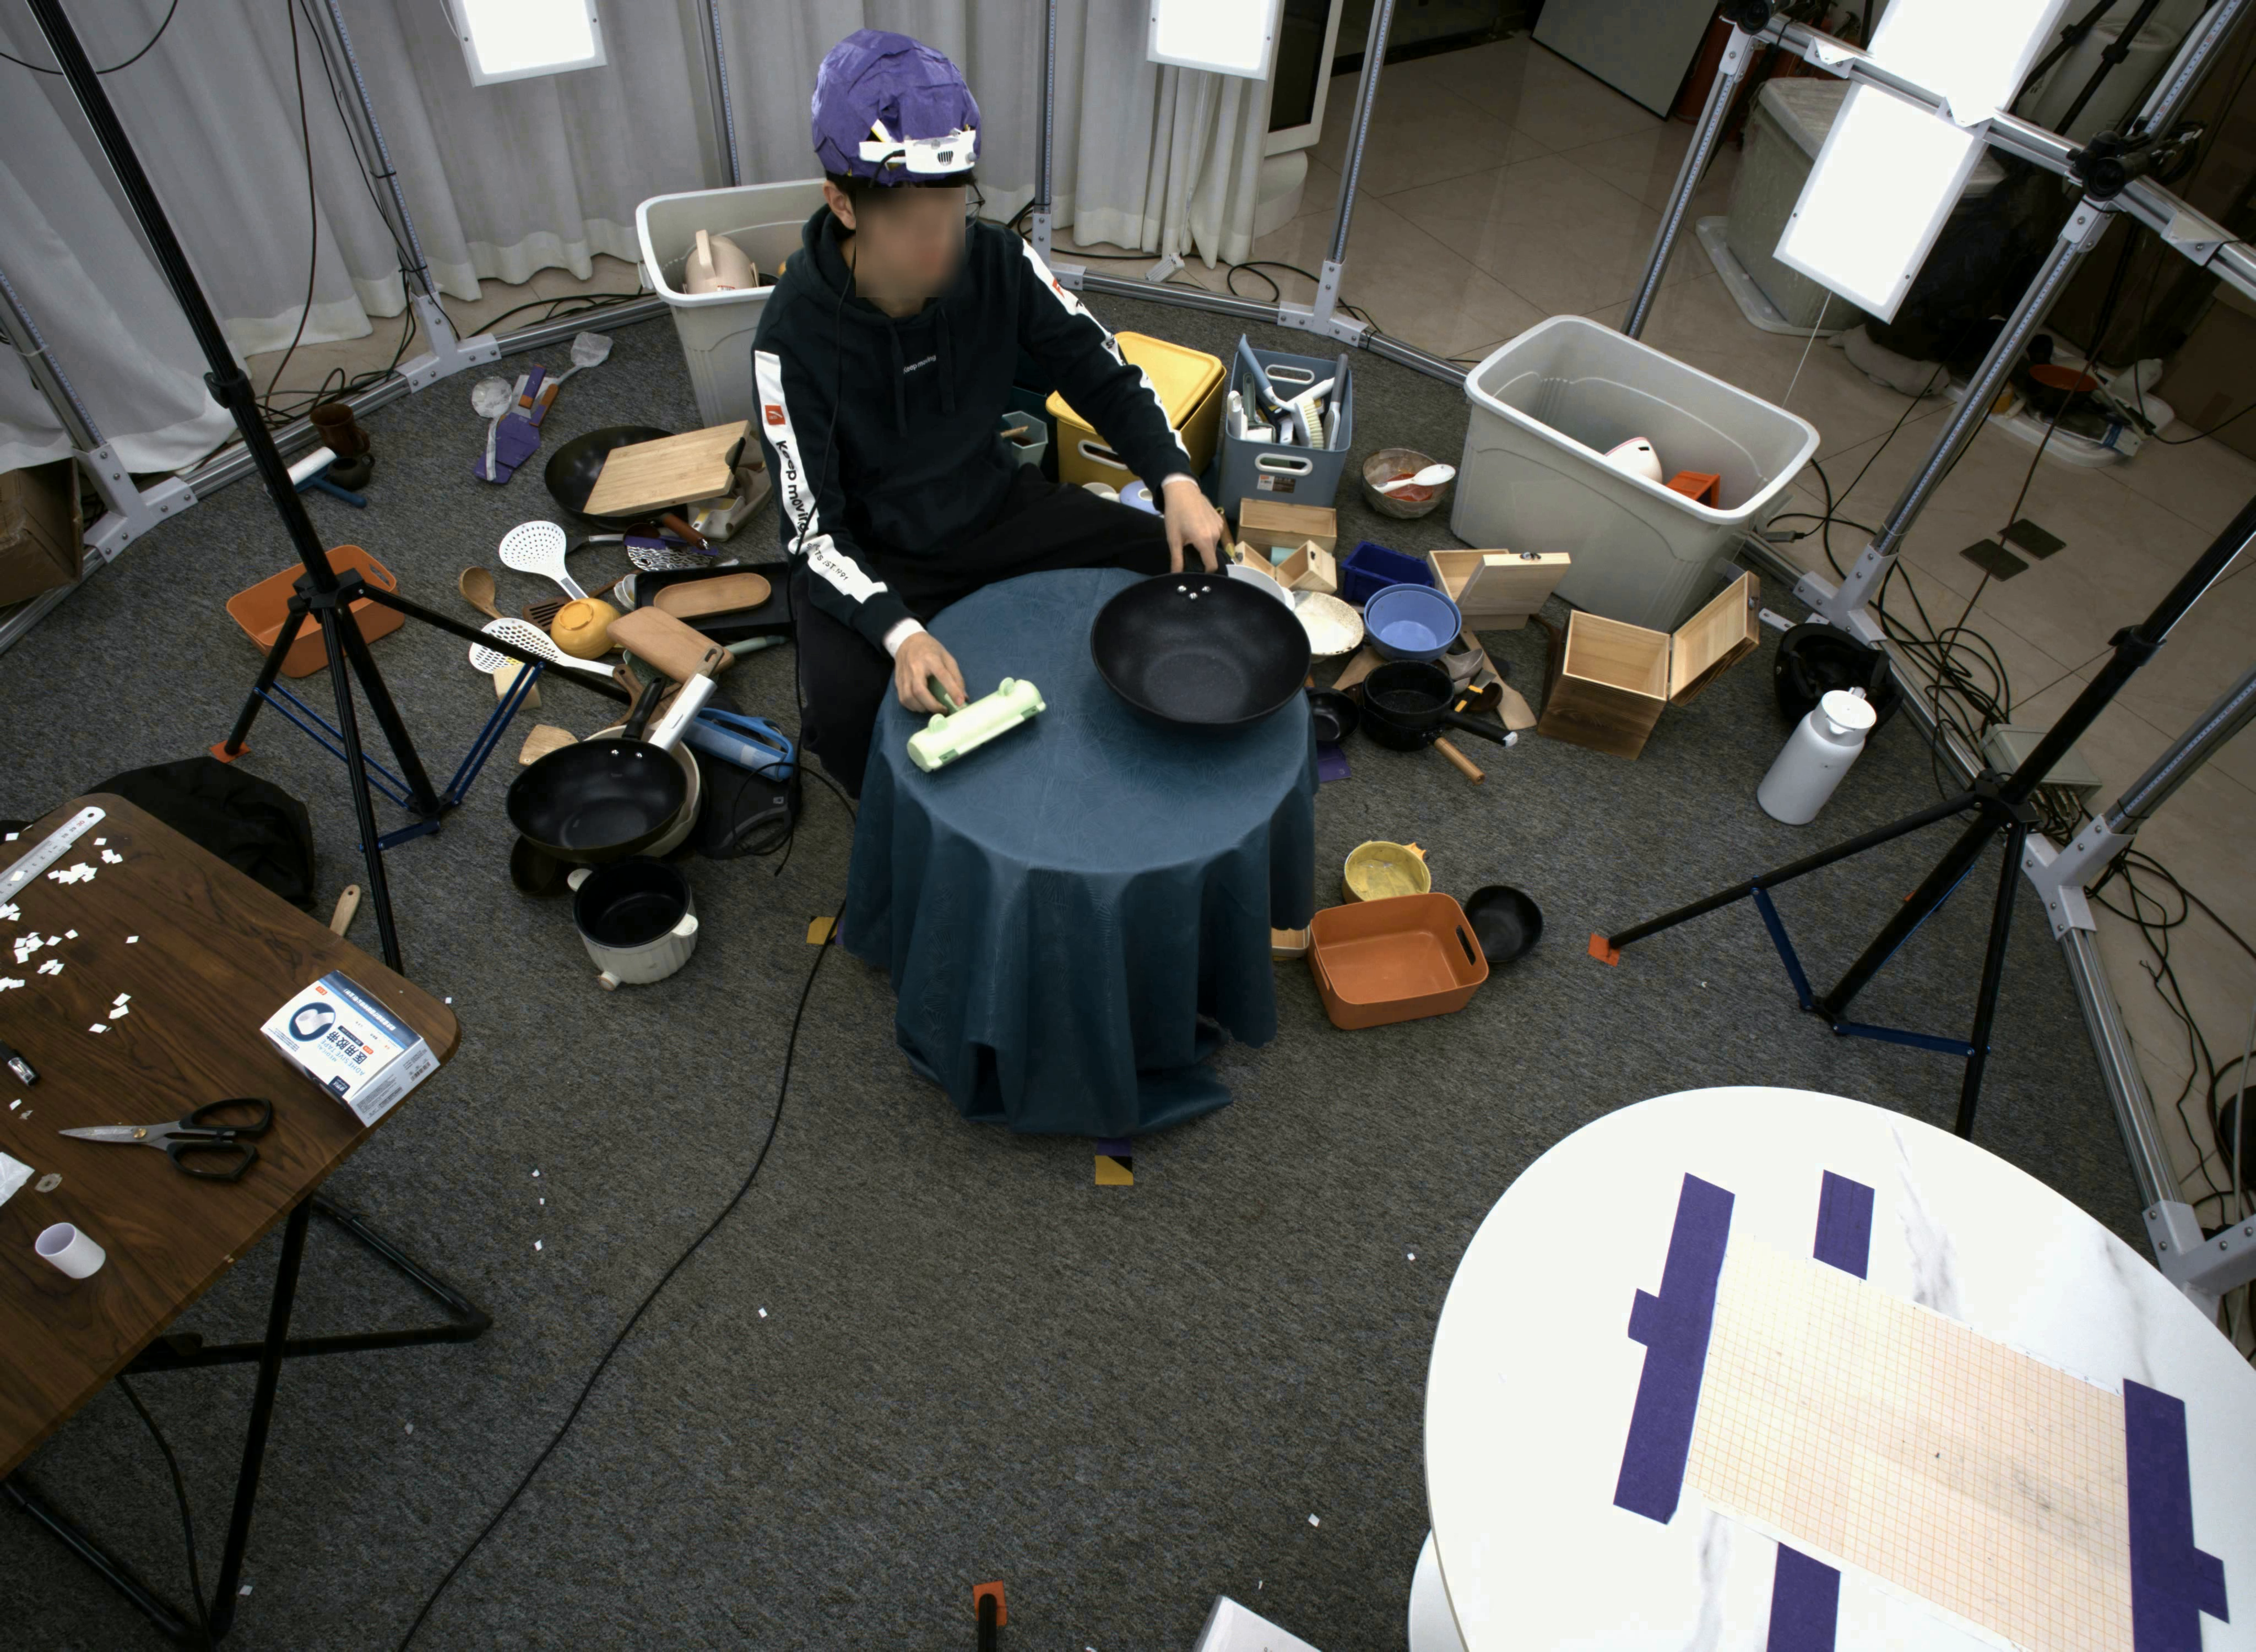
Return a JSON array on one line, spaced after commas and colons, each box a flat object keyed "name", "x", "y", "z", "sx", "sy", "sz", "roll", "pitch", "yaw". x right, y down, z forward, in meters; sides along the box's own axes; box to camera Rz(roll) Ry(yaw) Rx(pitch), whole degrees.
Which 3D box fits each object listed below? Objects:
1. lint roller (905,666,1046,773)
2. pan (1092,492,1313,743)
[{"name": "lint roller", "x": -0.240, "y": -0.178, "z": 1.757, "sx": 0.200, "sy": 0.080, "sz": 0.186, "roll": -31, "pitch": 63, "yaw": -26}, {"name": "pan", "x": 0.099, "y": -0.293, "z": 1.860, "sx": 0.310, "sy": 0.109, "sz": 0.489, "roll": 1, "pitch": 50, "yaw": -4}]
